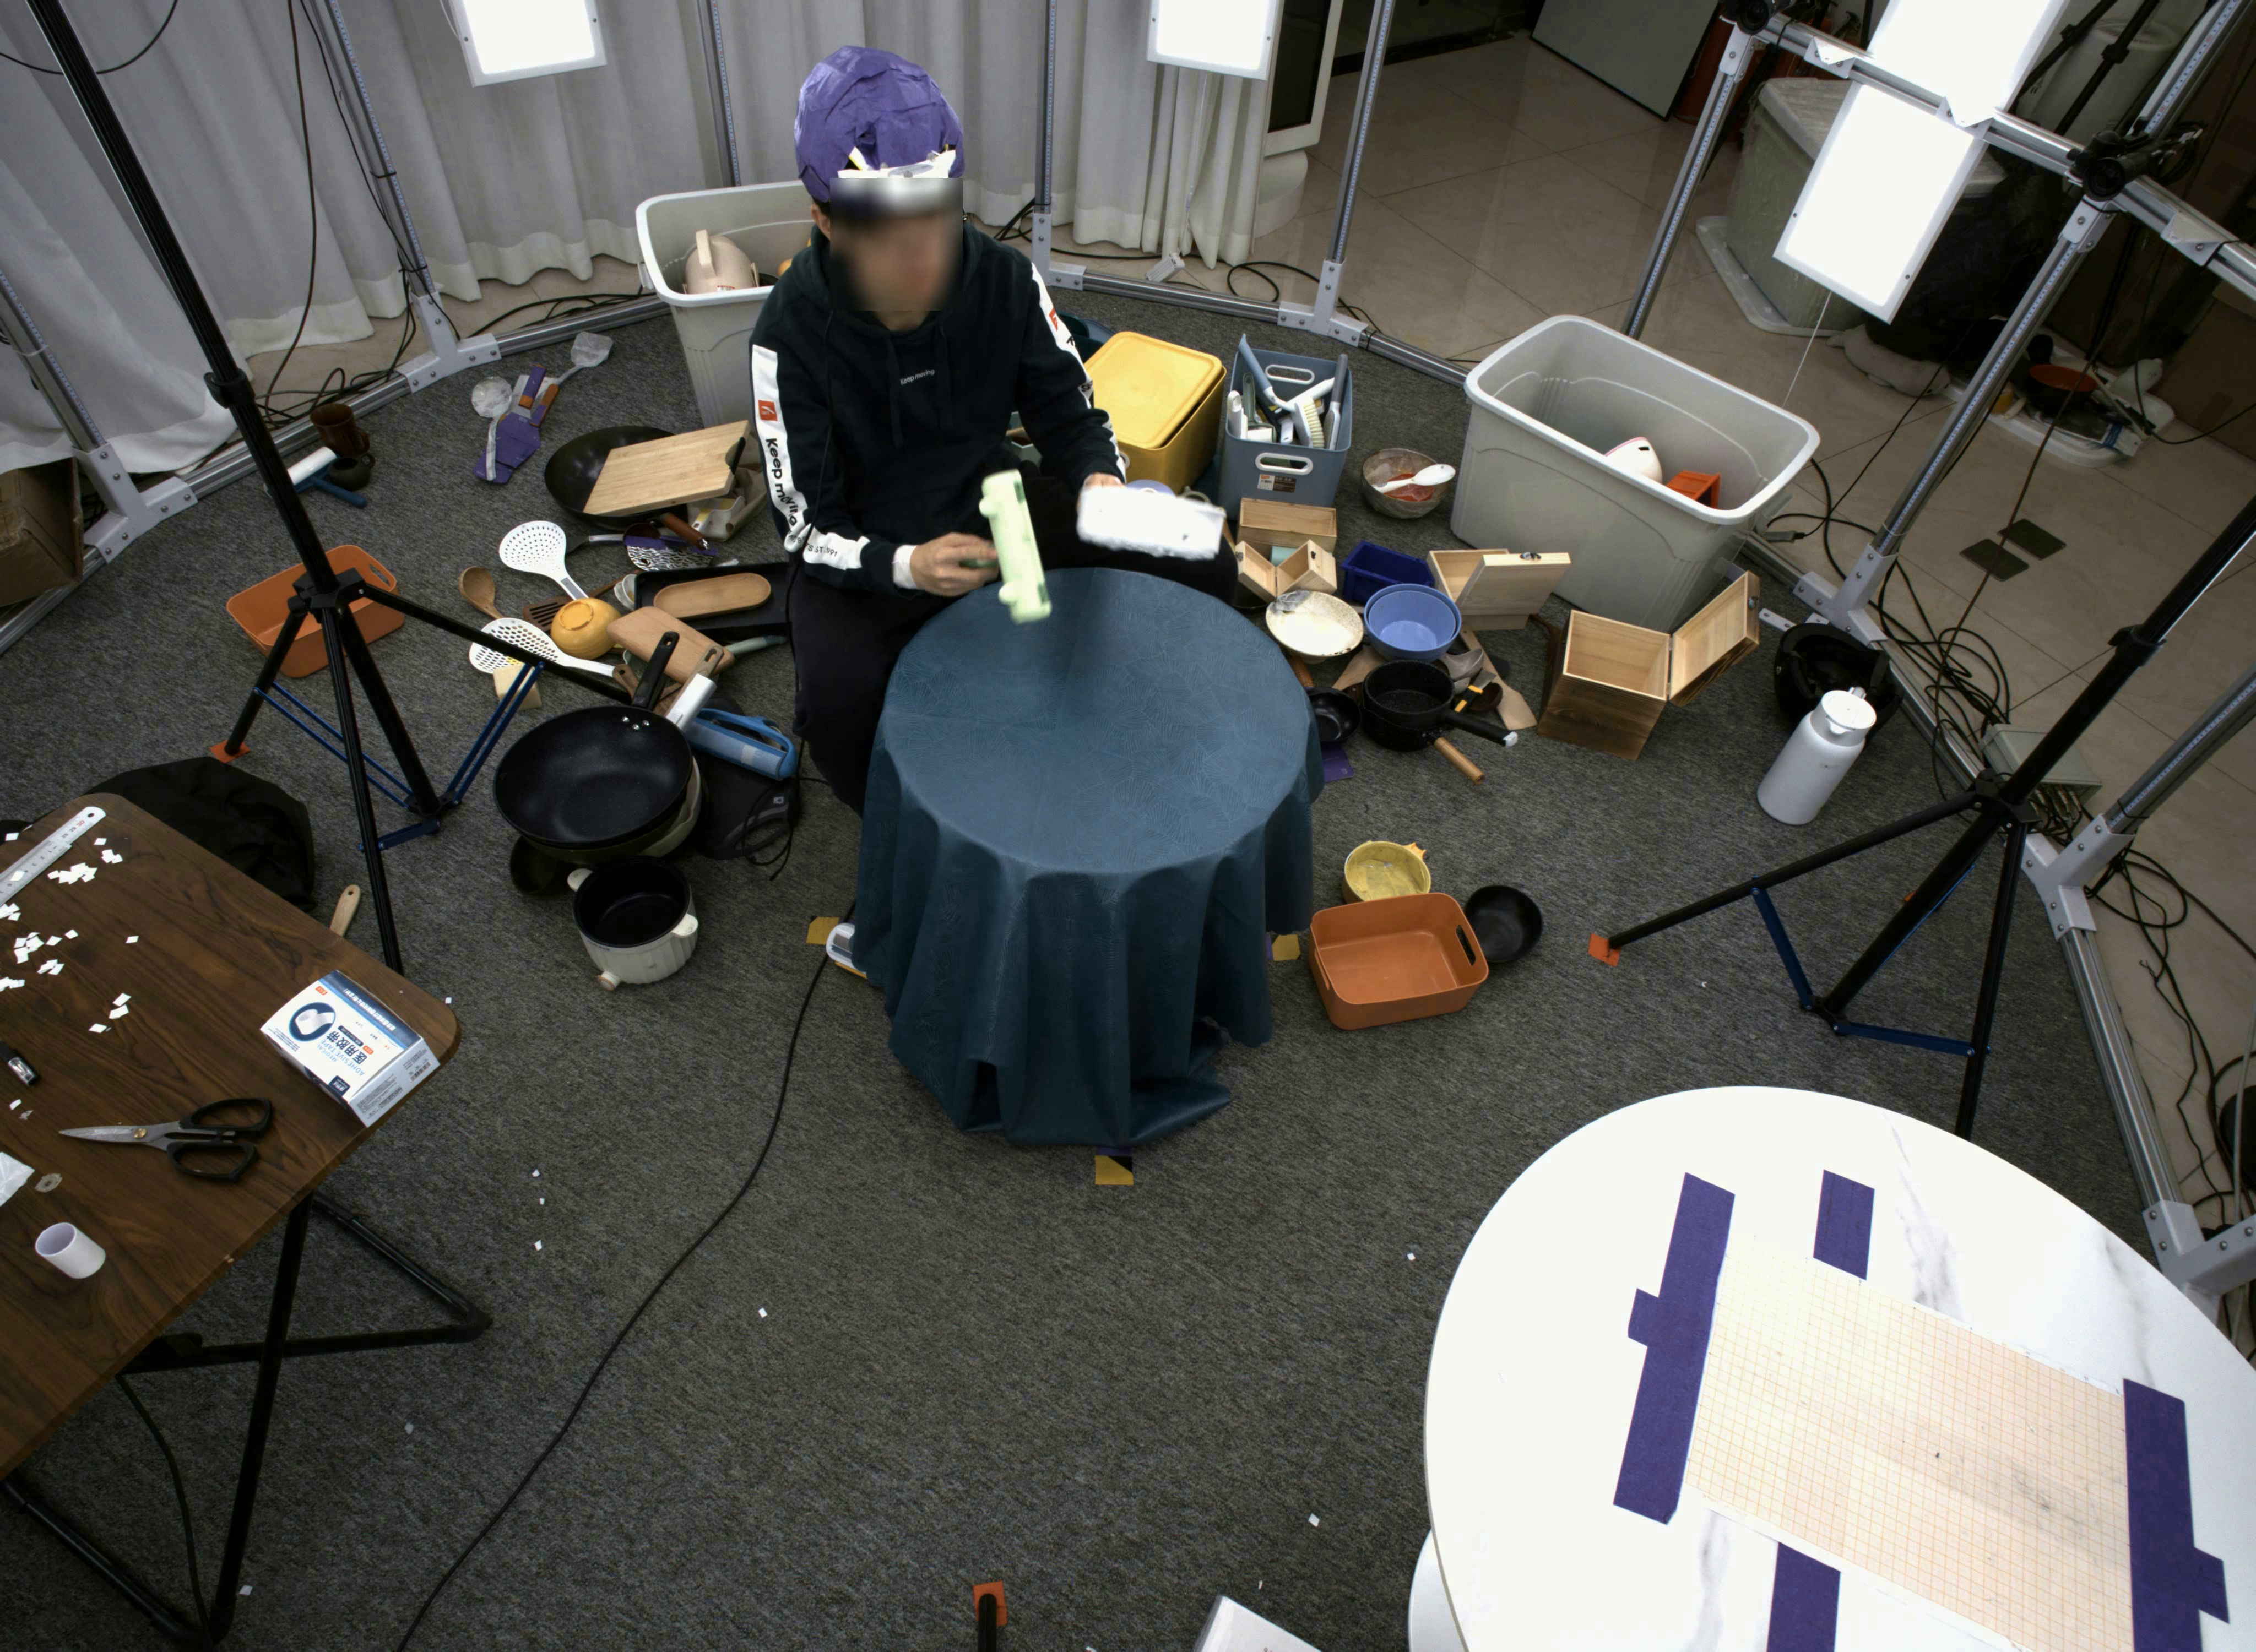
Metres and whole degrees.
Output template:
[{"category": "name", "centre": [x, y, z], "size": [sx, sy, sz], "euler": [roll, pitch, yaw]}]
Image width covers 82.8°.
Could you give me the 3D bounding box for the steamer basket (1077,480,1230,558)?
[{"category": "steamer basket", "centre": [0.031, -0.407, 1.728], "size": [0.233, 0.069, 0.200], "euler": [18, 10, 43]}]

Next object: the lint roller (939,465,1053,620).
[{"category": "lint roller", "centre": [-0.199, -0.366, 1.742], "size": [0.183, 0.198, 0.082], "euler": [-11, 7, 30]}]
